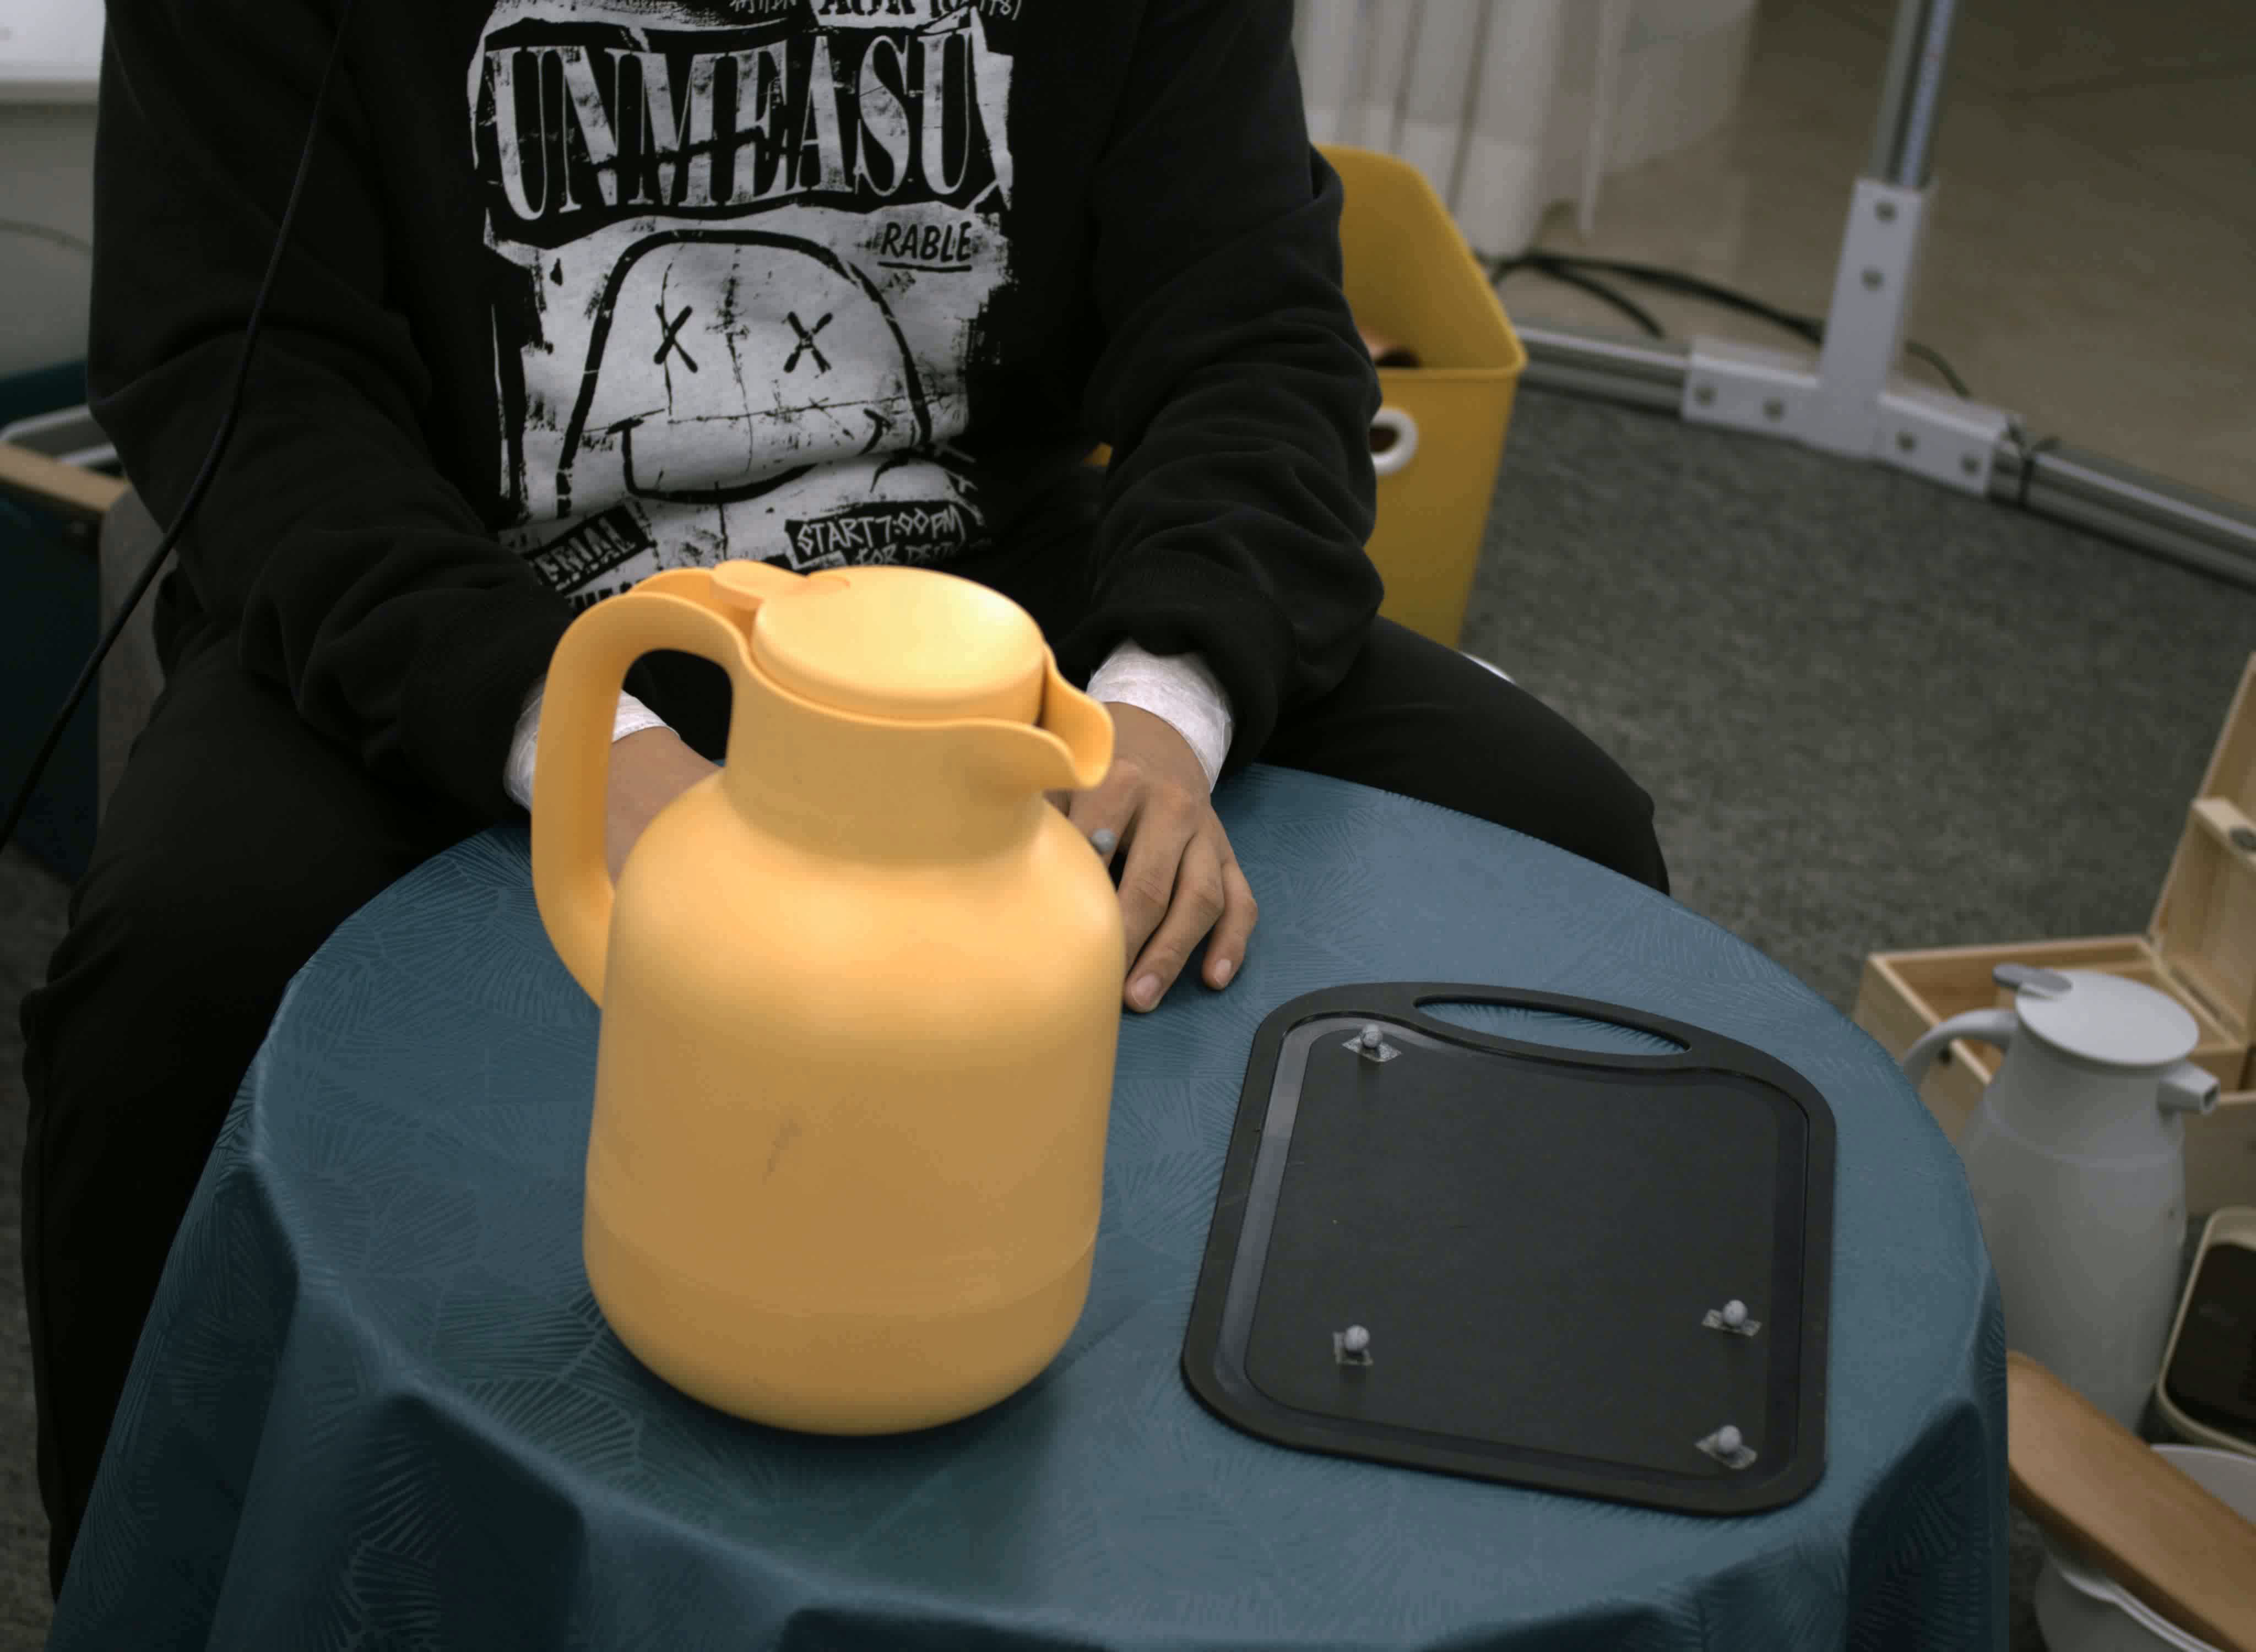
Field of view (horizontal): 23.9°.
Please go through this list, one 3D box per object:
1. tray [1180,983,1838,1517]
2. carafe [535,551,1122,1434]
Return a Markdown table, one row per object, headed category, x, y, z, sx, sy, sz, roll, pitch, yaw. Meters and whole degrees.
| category | x | y | z | sx | sy | sz | roll | pitch | yaw |
| --- | --- | --- | --- | --- | --- | --- | --- | --- | --- |
| tray | 0.135 | 0.132 | 1.810 | 0.211 | 0.010 | 0.327 | 9 | 27 | 5 |
| carafe | -0.099 | 0.041 | 1.658 | 0.203 | 0.260 | 0.163 | 23 | 28 | 27 |
